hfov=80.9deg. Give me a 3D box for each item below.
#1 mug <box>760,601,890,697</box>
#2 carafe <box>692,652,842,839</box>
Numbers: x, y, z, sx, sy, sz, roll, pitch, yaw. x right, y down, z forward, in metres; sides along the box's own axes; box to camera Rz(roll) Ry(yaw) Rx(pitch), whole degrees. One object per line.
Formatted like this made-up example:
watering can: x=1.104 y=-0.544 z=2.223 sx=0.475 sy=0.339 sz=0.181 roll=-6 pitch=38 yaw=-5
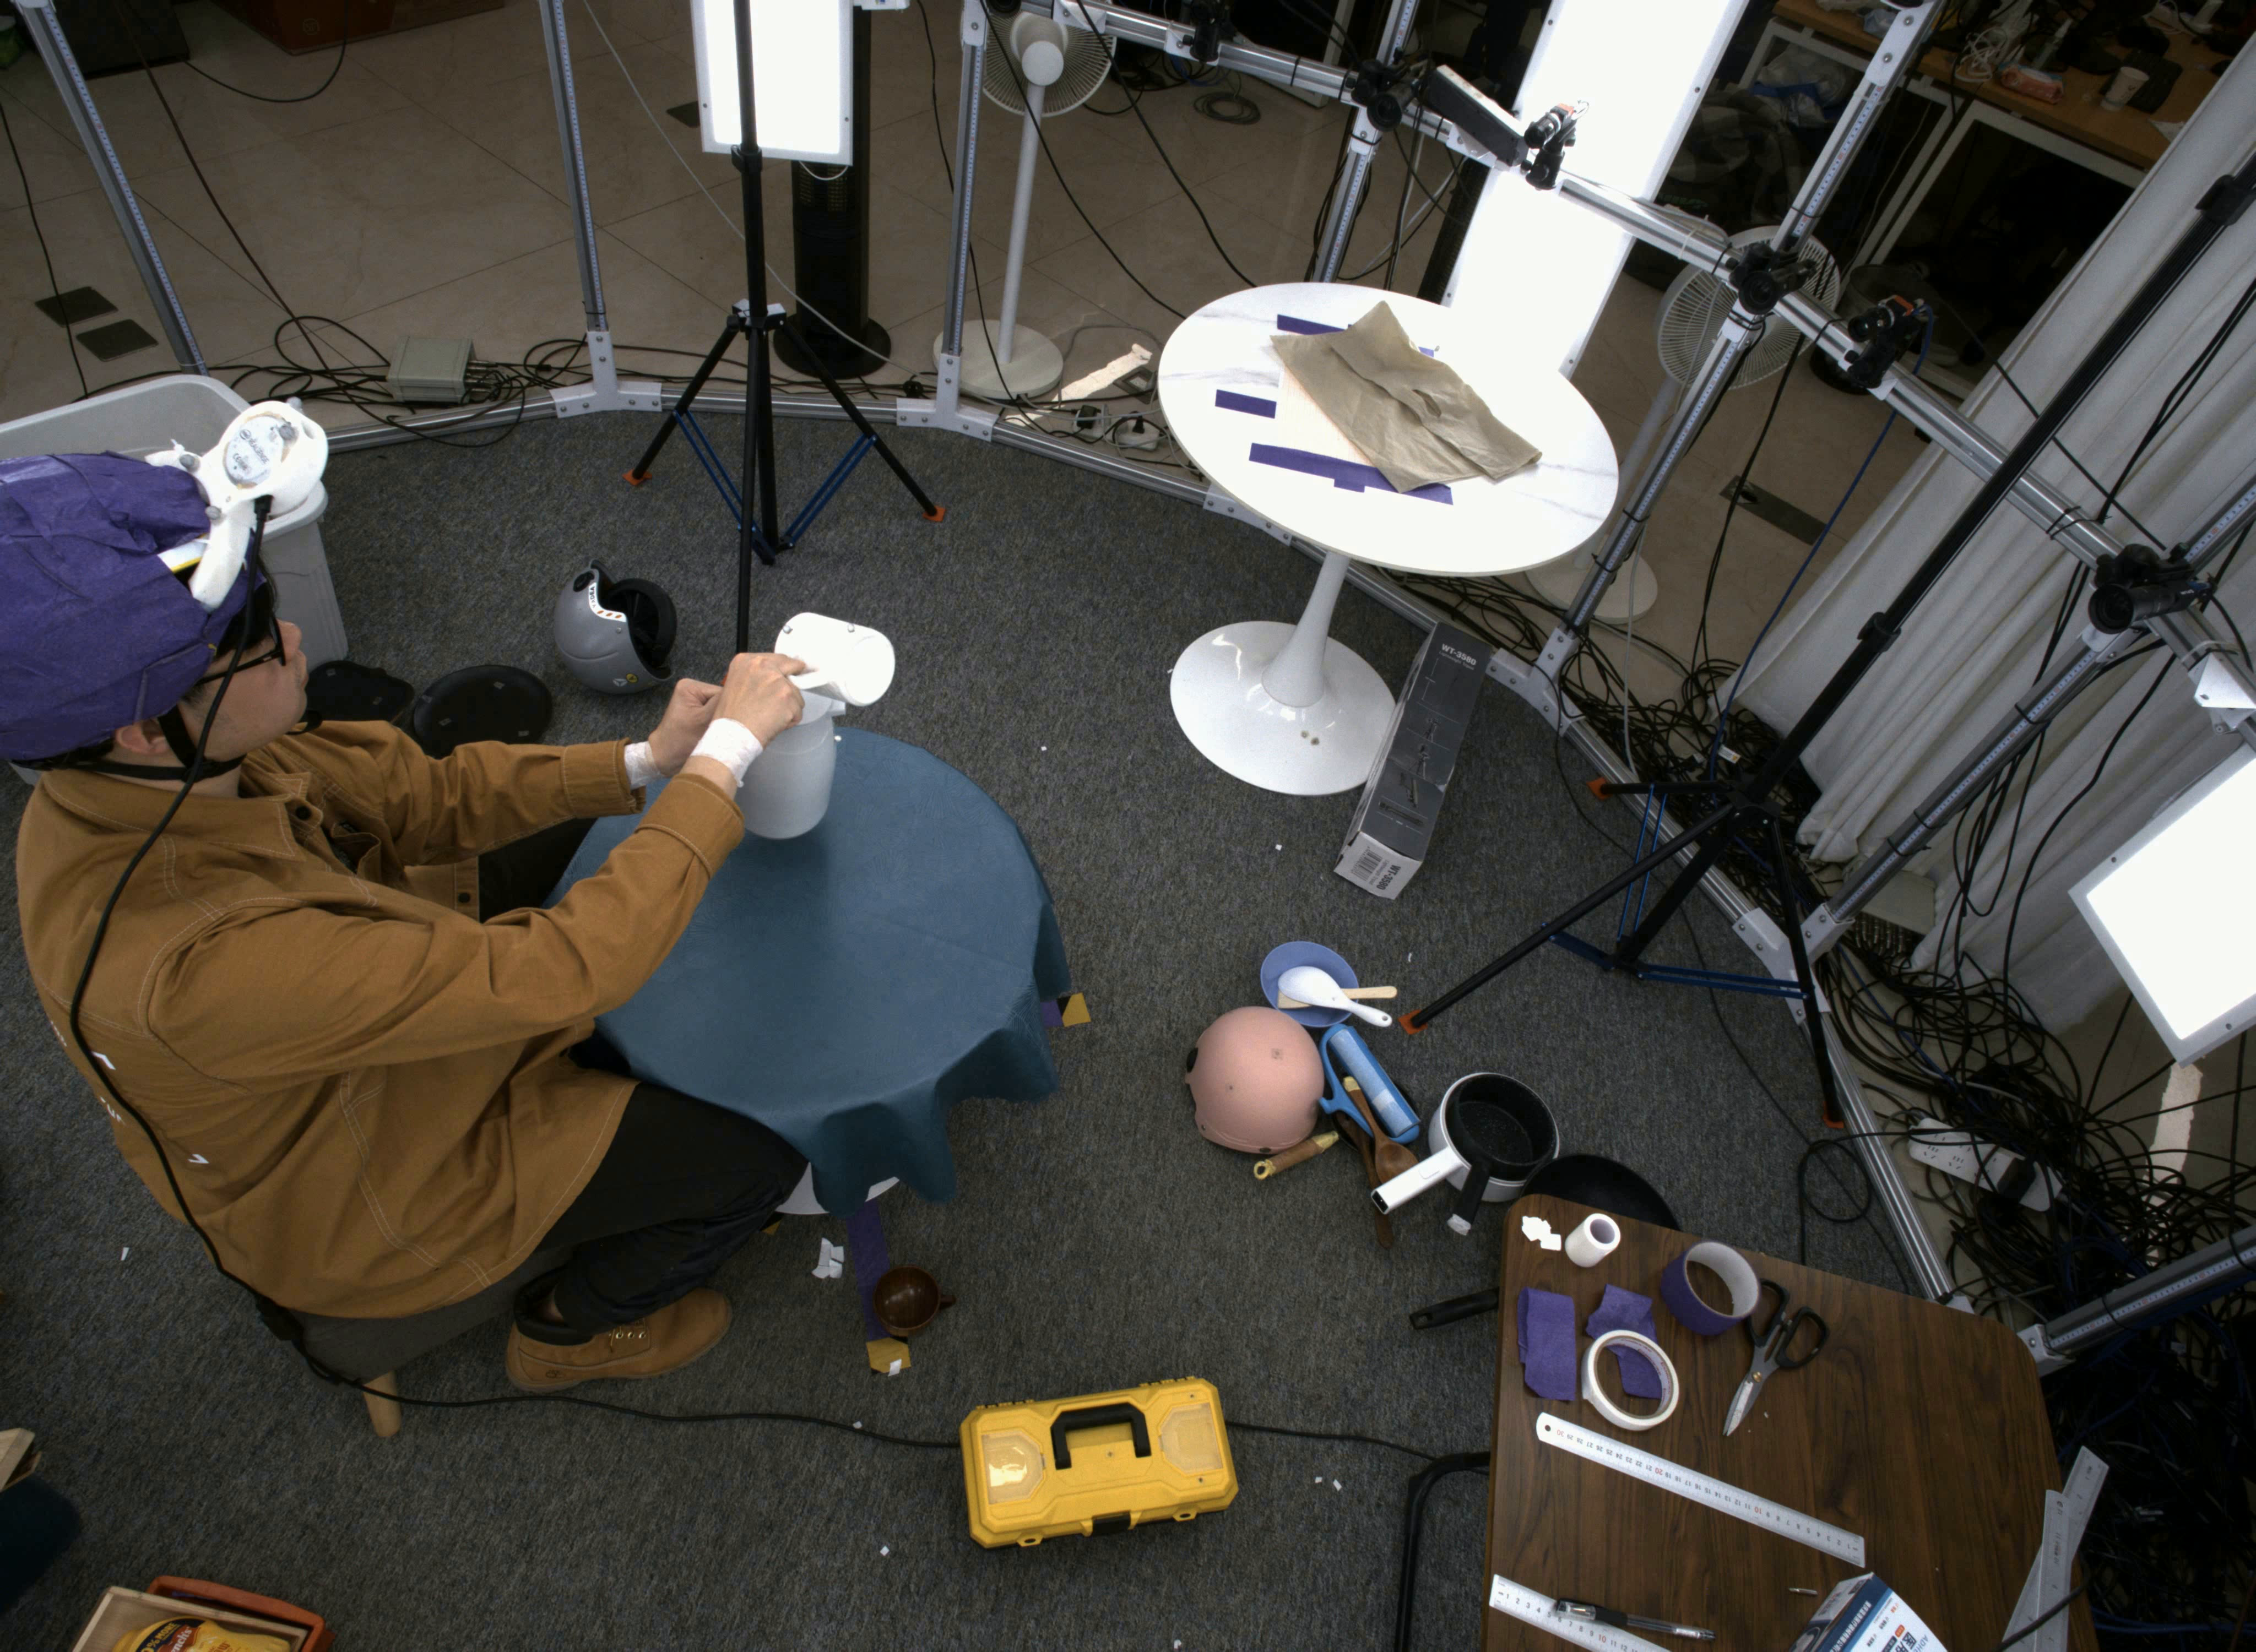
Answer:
mug: x=-0.325 y=-0.181 z=1.359 sx=0.098 sy=0.087 sz=0.119 roll=17 pitch=32 yaw=30
carafe: x=-0.433 y=-0.103 z=1.540 sx=0.169 sy=0.250 sz=0.130 roll=2 pitch=62 yaw=-18
